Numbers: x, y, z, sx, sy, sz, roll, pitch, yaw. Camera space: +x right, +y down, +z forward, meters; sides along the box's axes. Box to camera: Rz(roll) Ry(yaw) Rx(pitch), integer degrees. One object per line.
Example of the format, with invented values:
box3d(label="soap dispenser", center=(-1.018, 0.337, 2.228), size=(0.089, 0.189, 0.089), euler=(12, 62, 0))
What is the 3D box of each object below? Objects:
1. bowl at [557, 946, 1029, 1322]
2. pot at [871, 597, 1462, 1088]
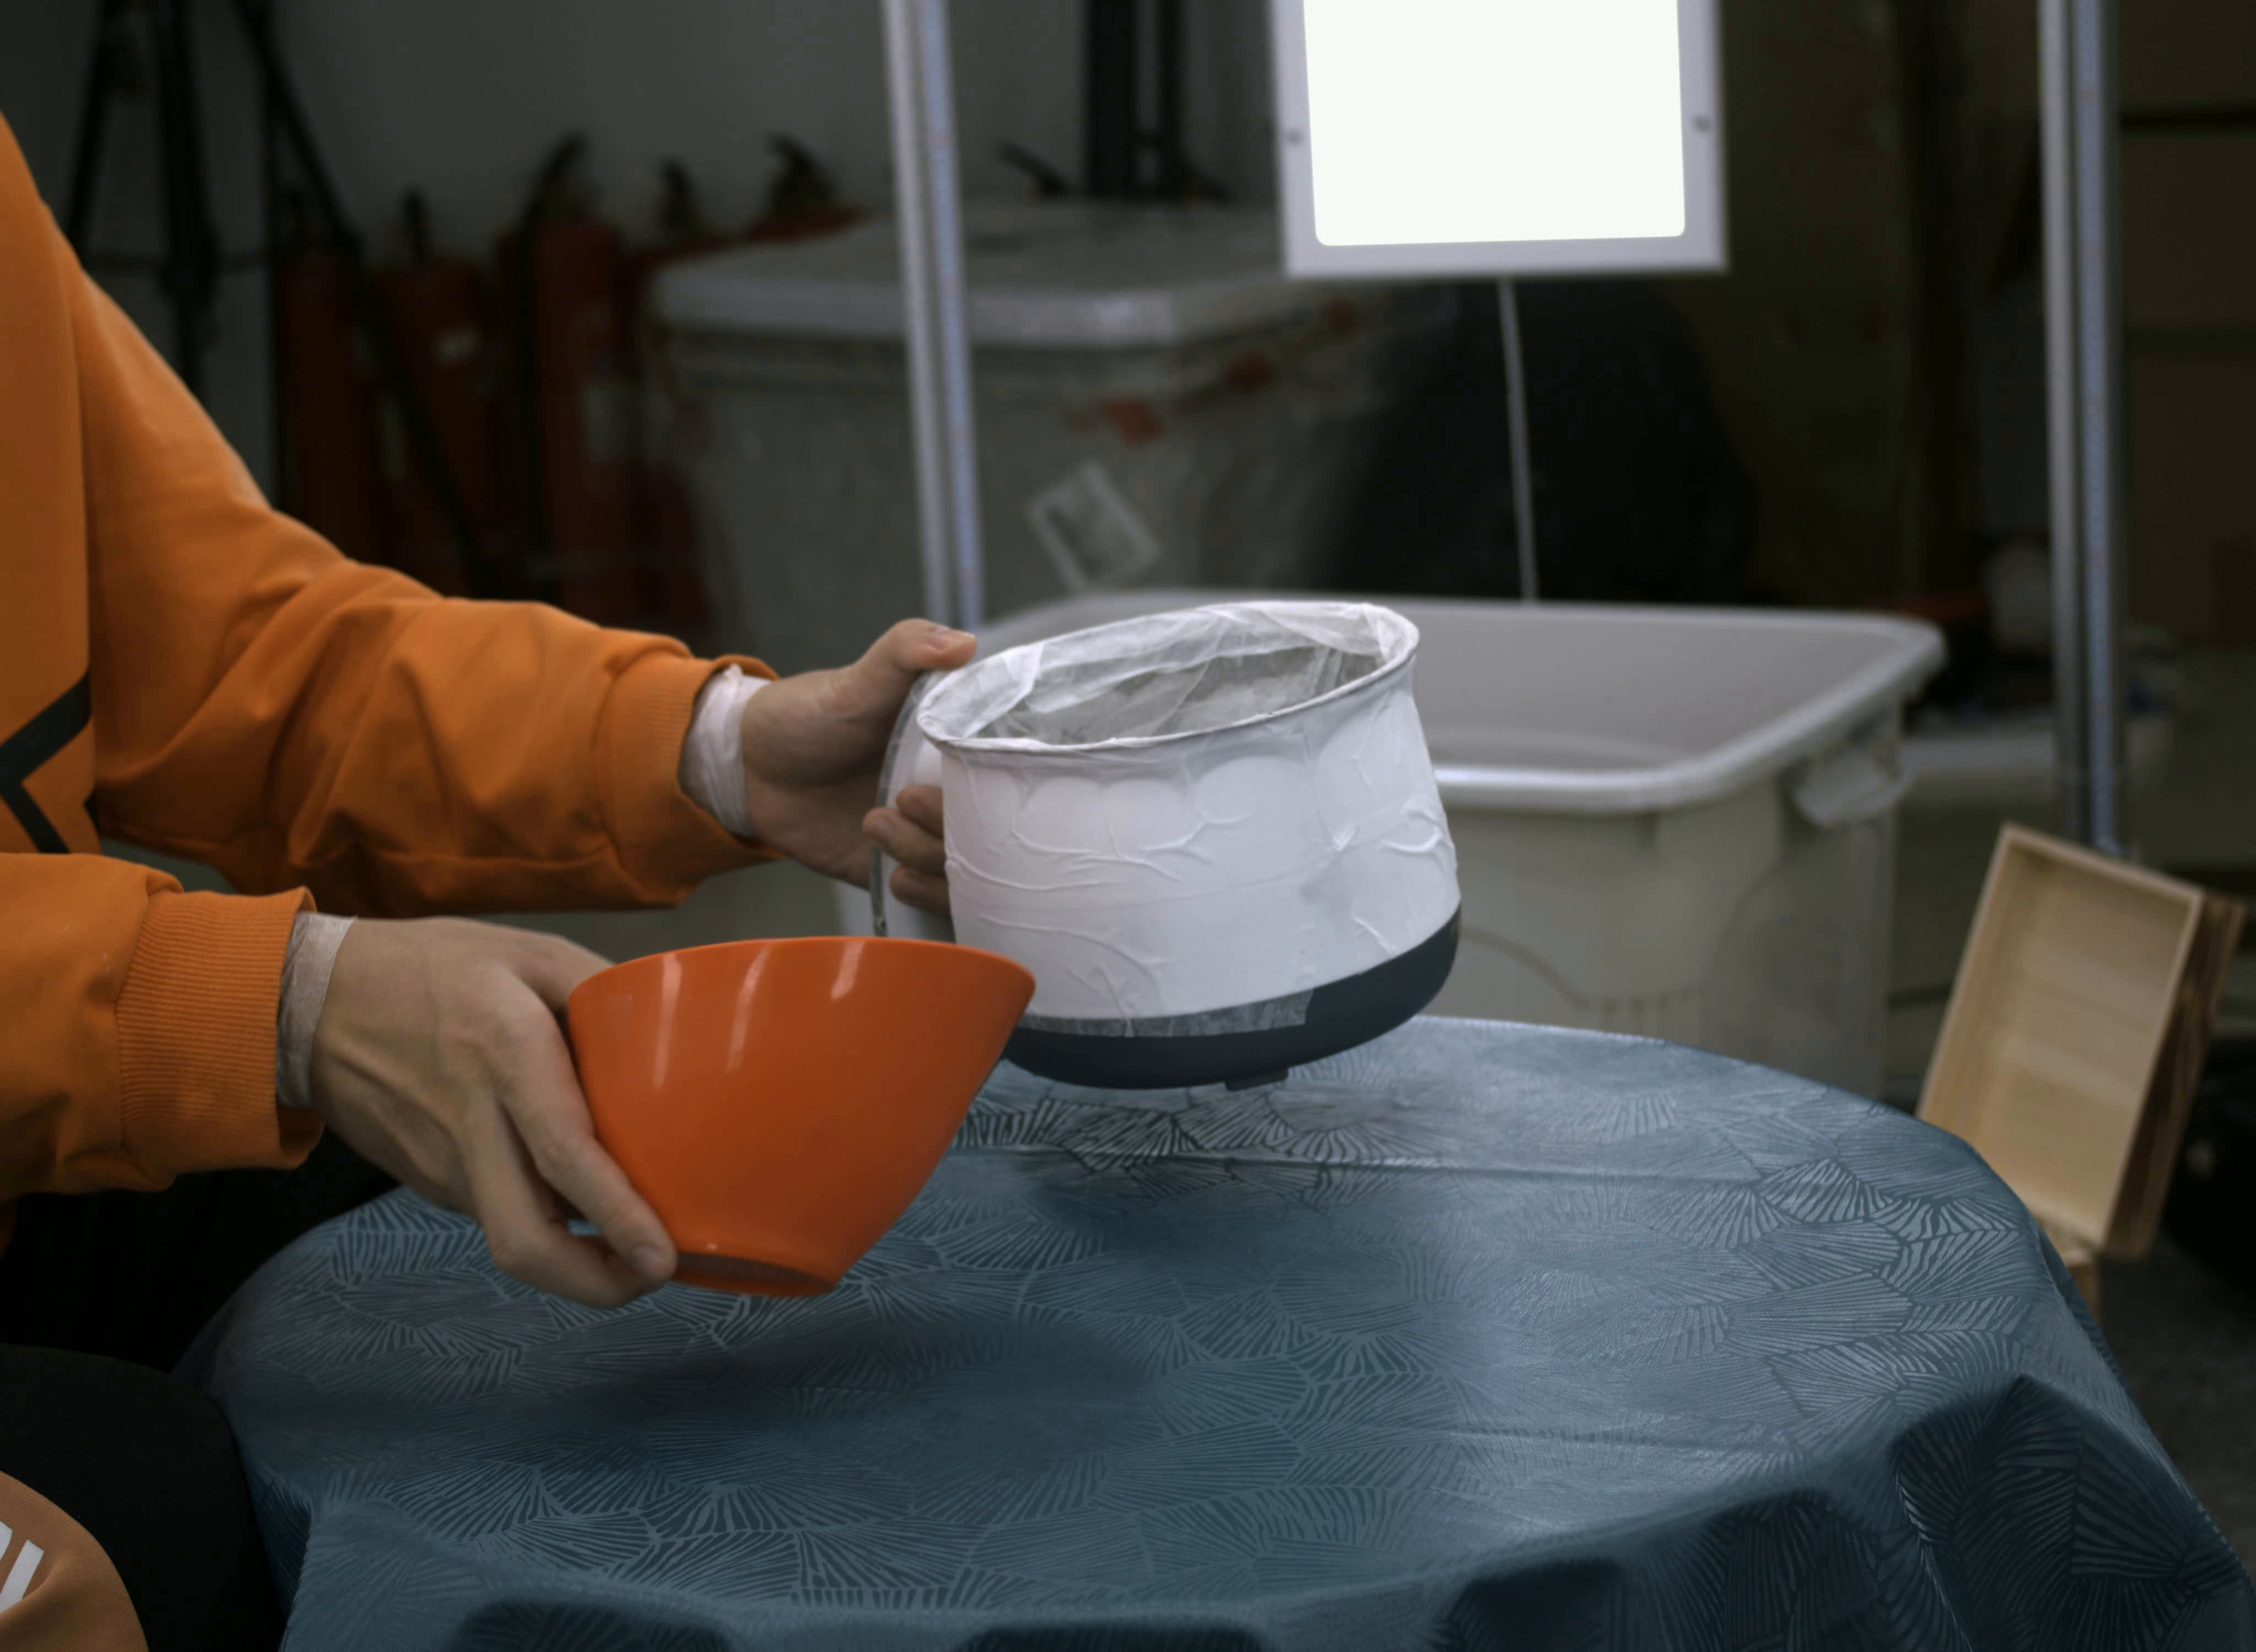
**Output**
box3d(label="bowl", center=(-0.109, 0.098, 1.725), size=(0.148, 0.104, 0.148), euler=(6, -17, 1))
box3d(label="pot", center=(0.002, 0.005, 1.929), size=(0.239, 0.137, 0.174), euler=(2, 19, 37))
